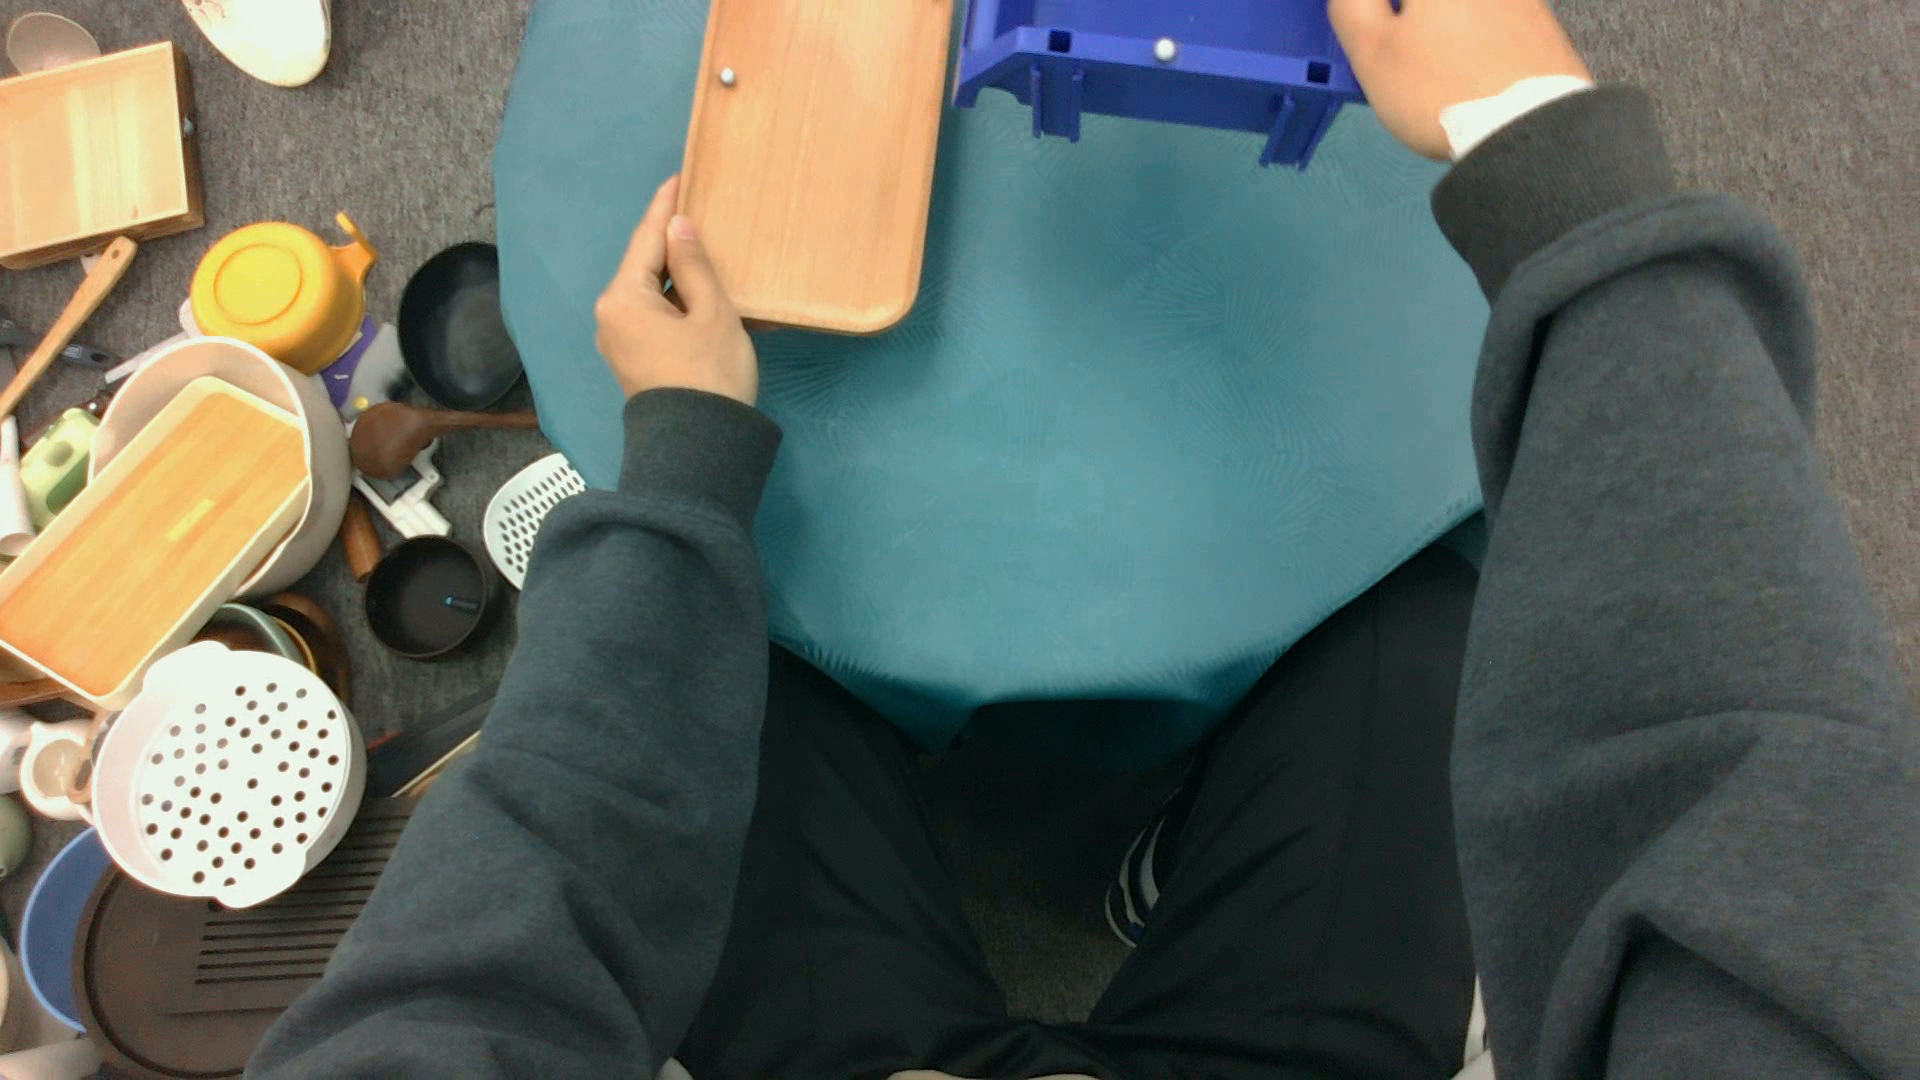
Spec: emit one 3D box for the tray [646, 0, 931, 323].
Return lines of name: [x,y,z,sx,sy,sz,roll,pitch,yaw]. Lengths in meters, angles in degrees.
tray: [-0.085,-0.232,0.726,0.130,0.023,0.251,6,74,-1]

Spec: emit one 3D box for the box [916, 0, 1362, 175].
box: [0.081,-0.249,0.610,0.179,0.082,0.124,13,84,-2]
